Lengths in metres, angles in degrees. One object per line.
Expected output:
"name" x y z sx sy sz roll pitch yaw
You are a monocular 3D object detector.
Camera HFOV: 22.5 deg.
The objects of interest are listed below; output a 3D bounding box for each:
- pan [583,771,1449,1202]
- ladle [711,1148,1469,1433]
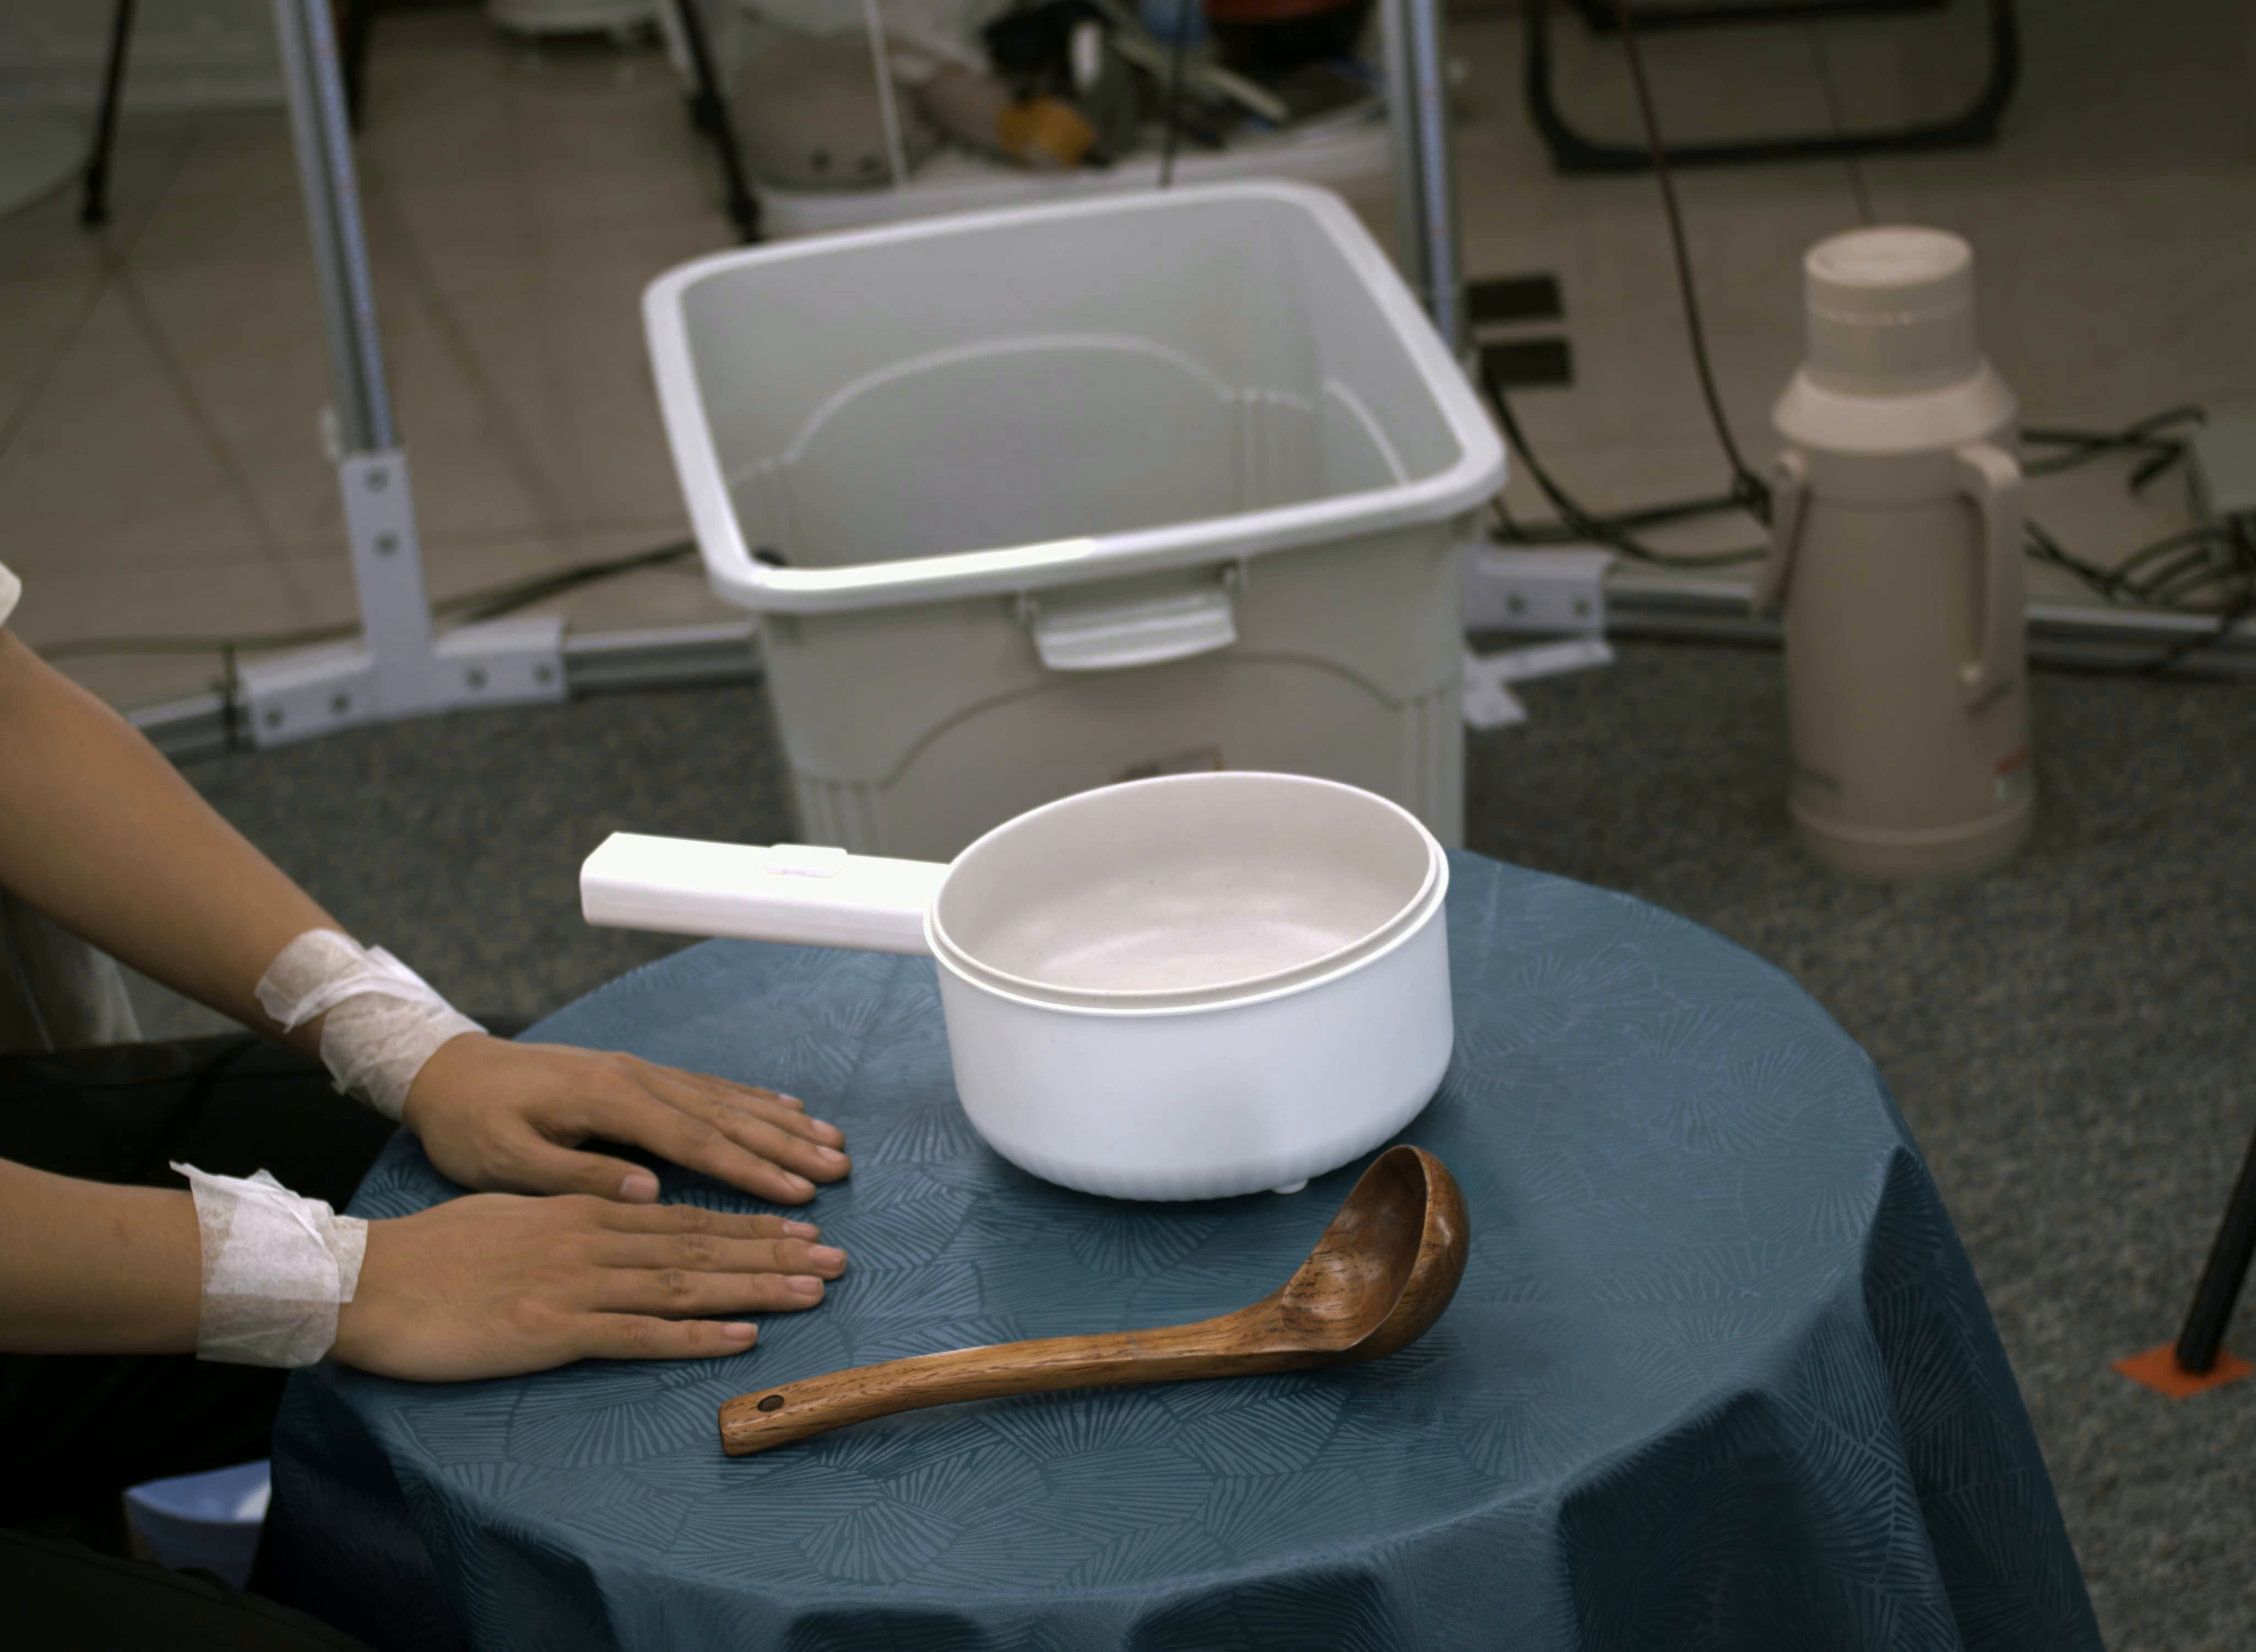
"pan" -0.045 0.060 2.212 0.354 0.104 0.198 4 28 23
"ladle" -0.015 0.166 2.002 0.273 0.078 0.080 -6 27 -1
